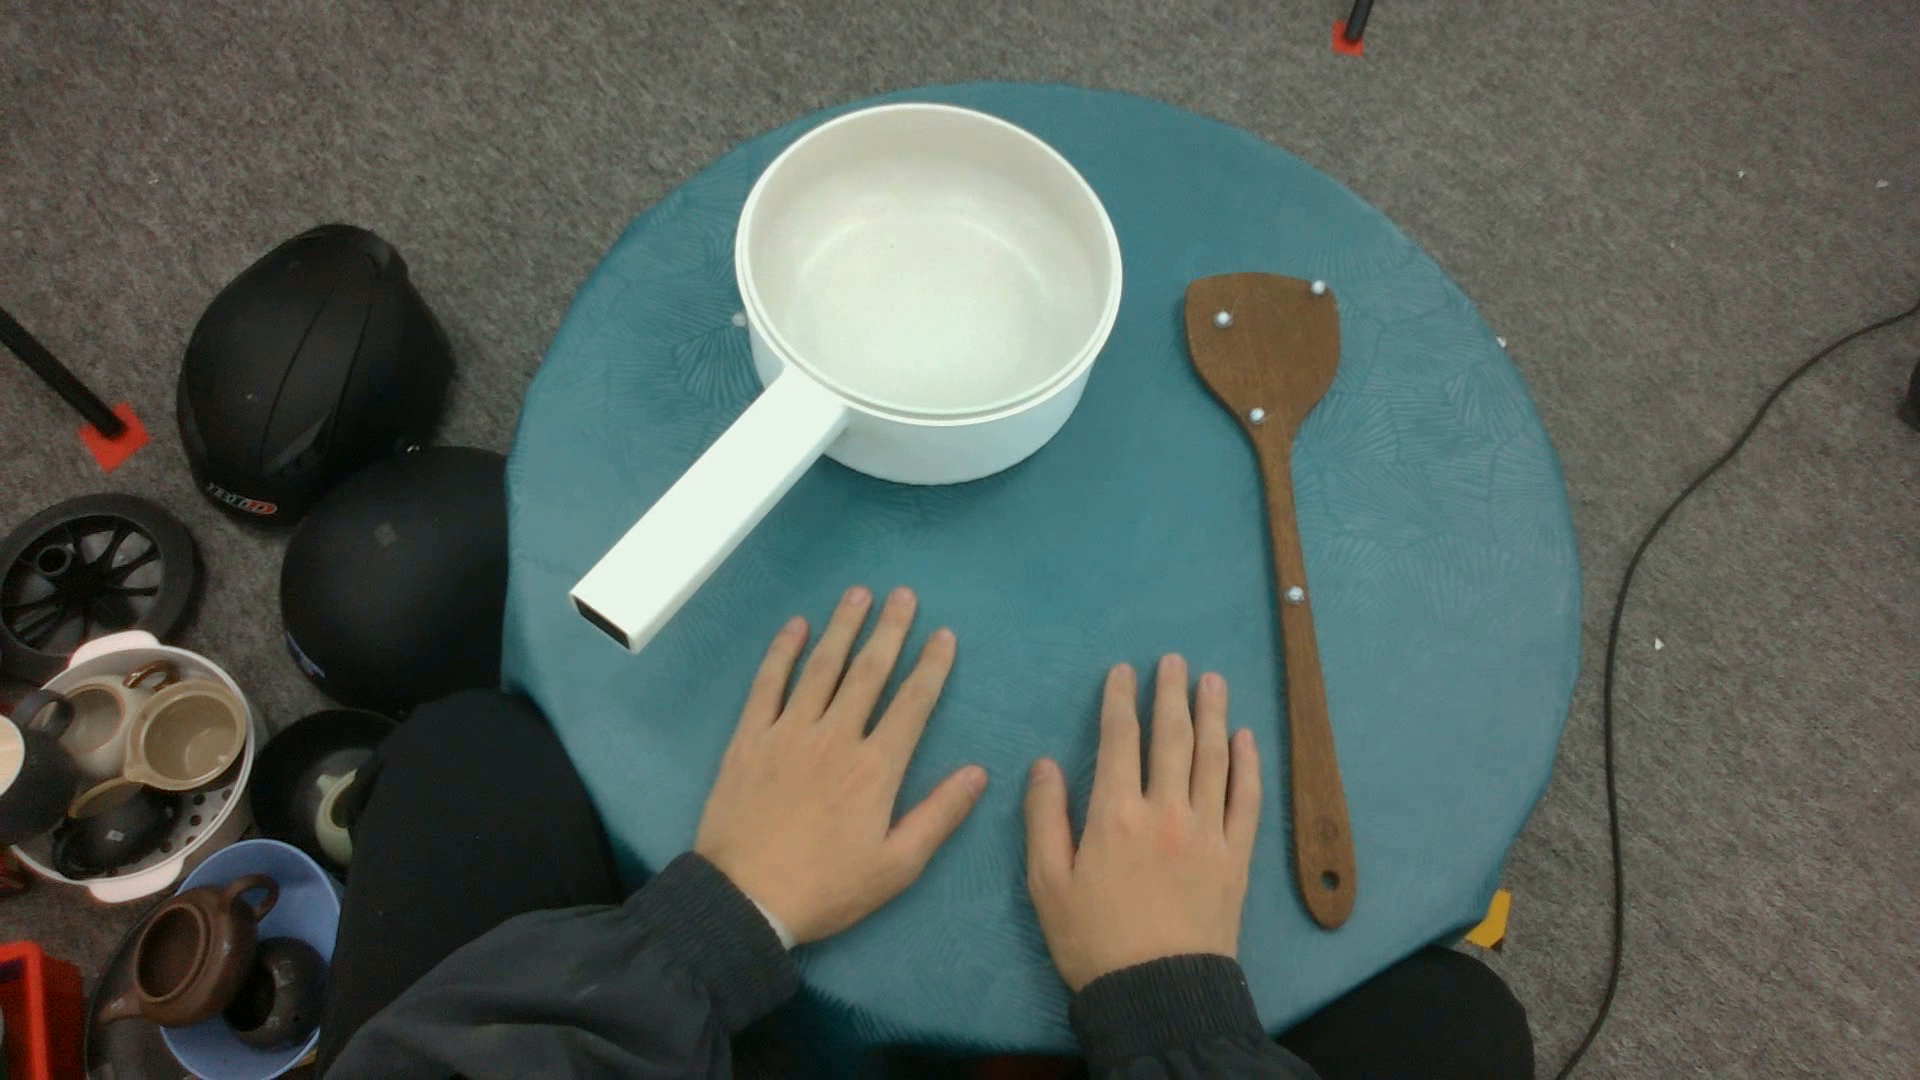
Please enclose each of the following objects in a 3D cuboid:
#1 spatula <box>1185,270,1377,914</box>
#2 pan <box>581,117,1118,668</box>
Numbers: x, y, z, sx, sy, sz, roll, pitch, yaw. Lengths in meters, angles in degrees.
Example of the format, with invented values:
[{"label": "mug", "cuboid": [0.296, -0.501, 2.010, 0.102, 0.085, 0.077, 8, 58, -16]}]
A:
[{"label": "spatula", "cuboid": [0.189, 0.010, 0.767, 0.096, 0.016, 0.387, 0, 65, -4]}, {"label": "pan", "cuboid": [-0.062, -0.069, 0.738, 0.201, 0.101, 0.356, 33, 68, 11]}]
